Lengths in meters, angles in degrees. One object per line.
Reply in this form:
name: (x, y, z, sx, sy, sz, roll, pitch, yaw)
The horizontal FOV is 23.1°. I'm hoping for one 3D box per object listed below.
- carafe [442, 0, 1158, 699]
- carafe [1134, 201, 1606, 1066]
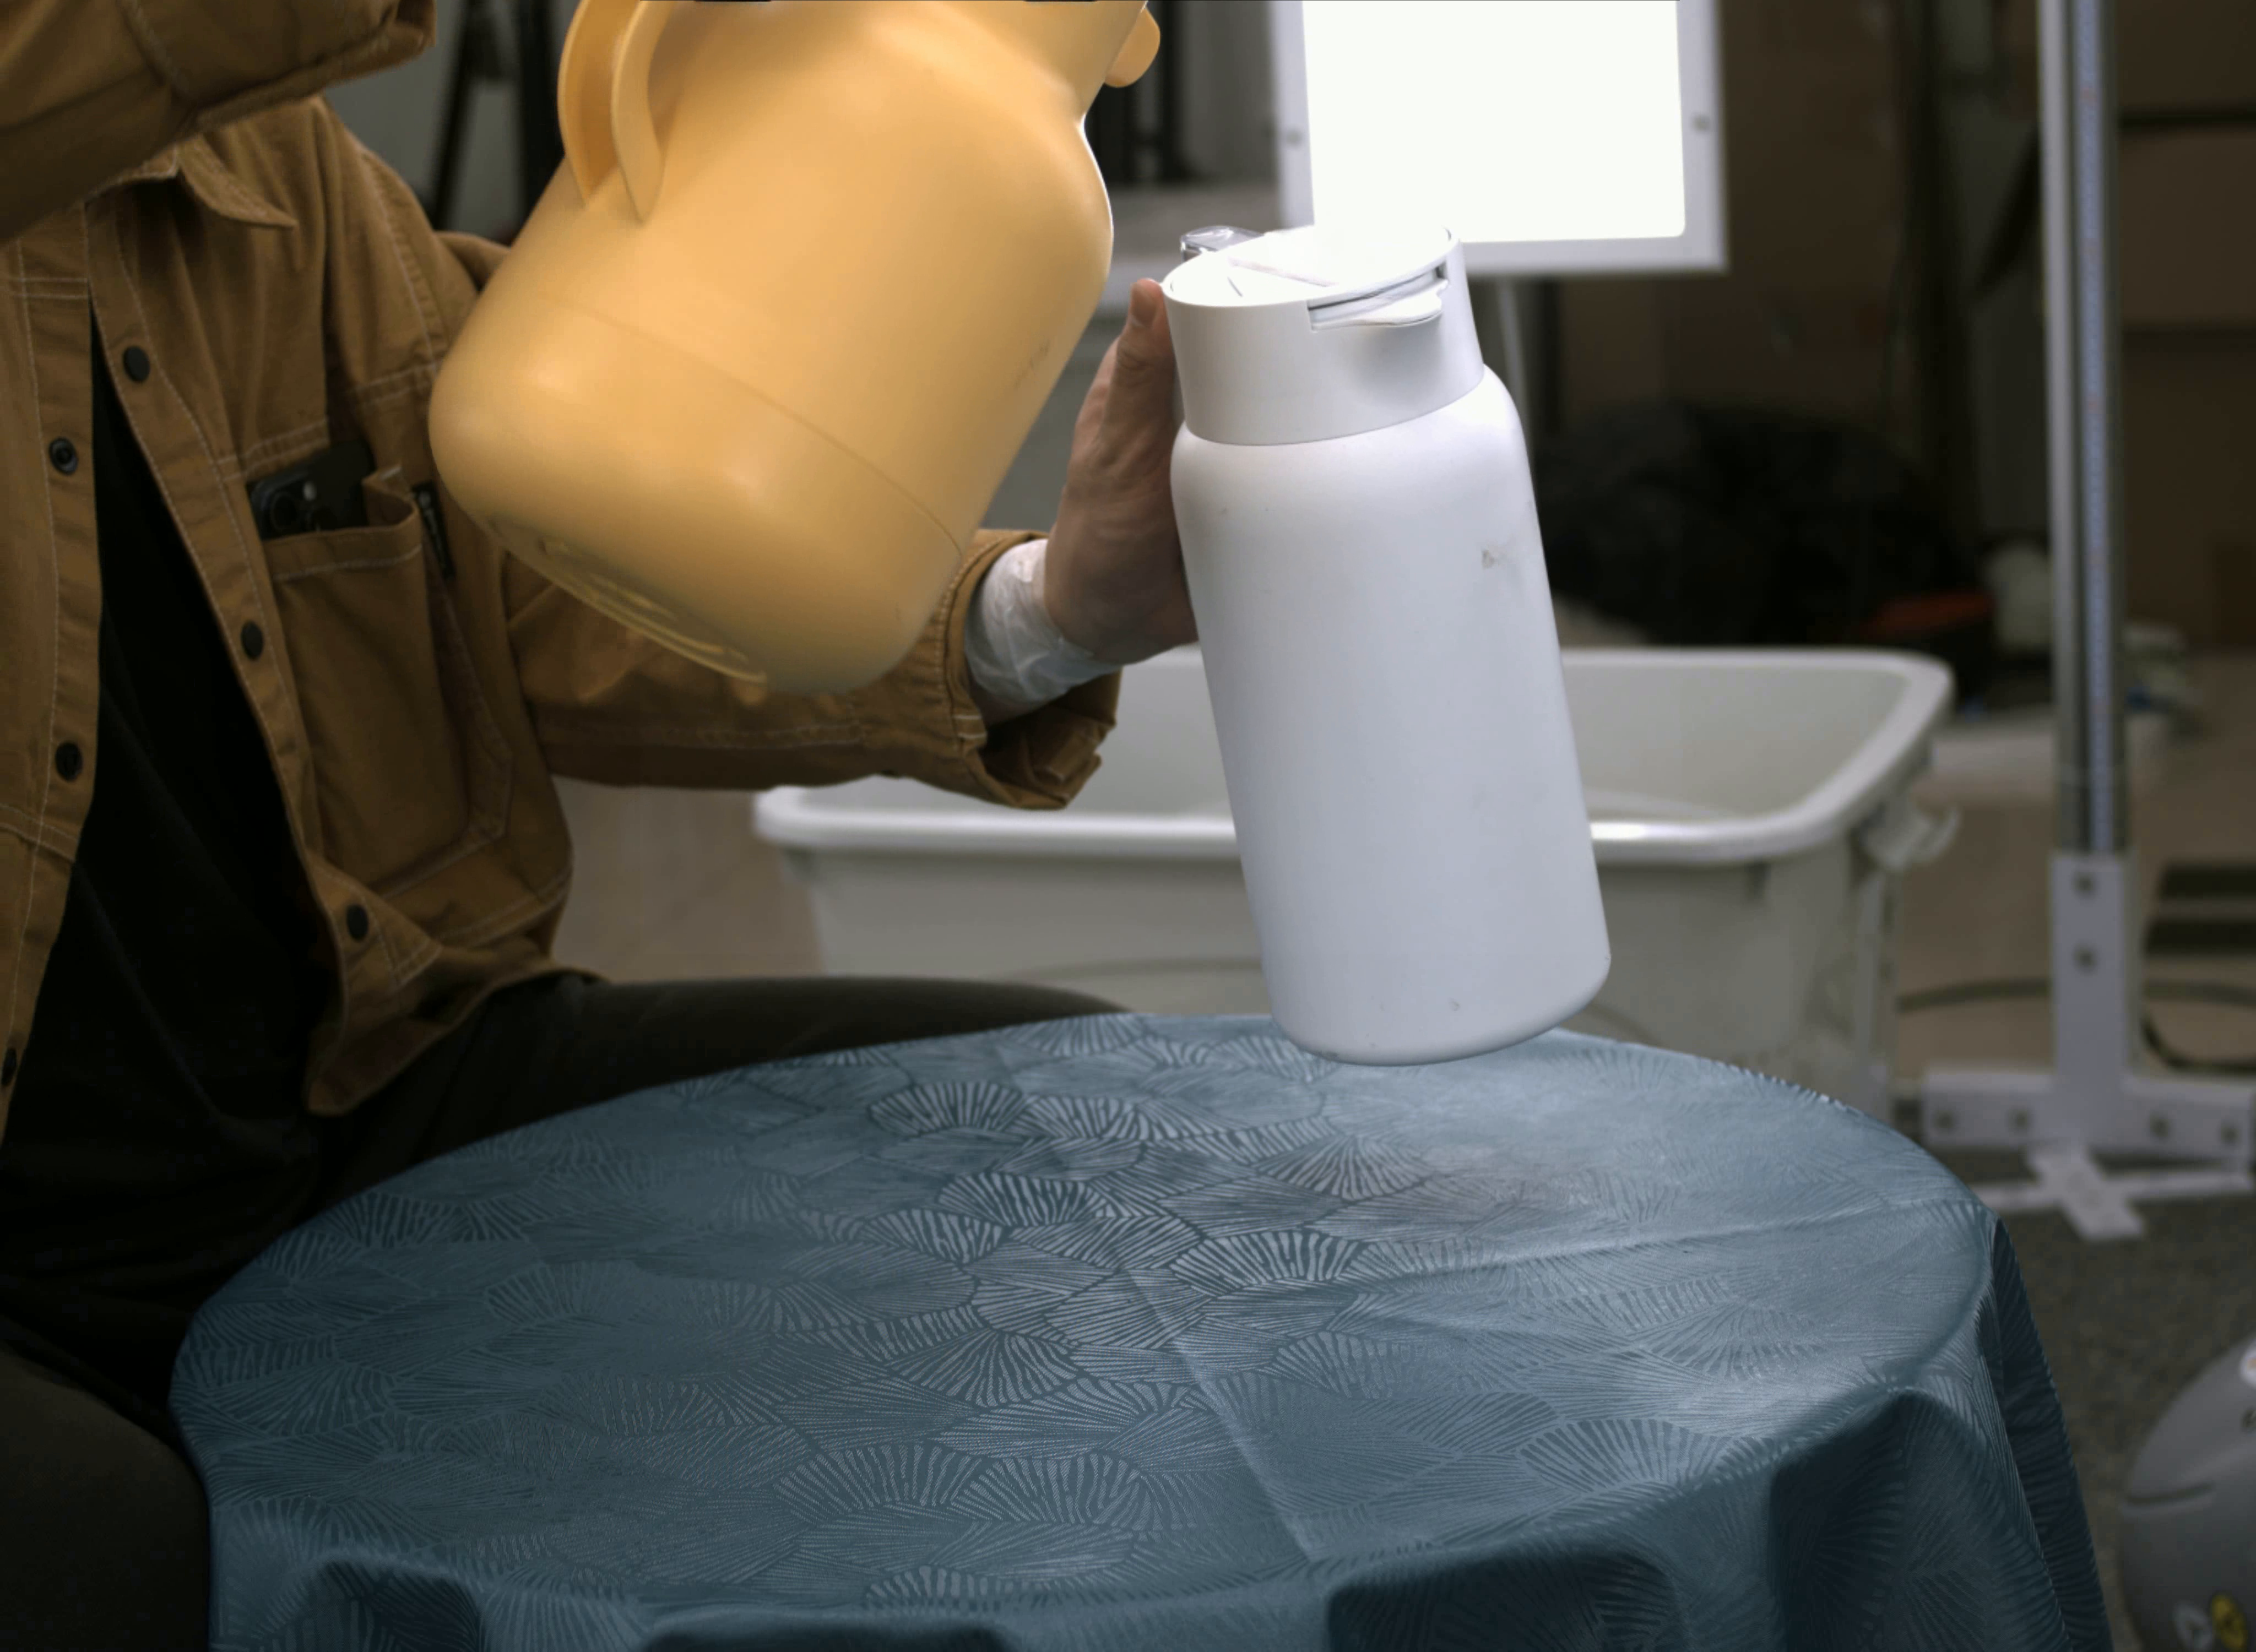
carafe: (-0.097, -0.187, 1.636, 0.167, 0.259, 0.199, 16, -14, 43)
carafe: (0.072, -0.065, 1.825, 0.121, 0.269, 0.176, -23, 22, -24)
